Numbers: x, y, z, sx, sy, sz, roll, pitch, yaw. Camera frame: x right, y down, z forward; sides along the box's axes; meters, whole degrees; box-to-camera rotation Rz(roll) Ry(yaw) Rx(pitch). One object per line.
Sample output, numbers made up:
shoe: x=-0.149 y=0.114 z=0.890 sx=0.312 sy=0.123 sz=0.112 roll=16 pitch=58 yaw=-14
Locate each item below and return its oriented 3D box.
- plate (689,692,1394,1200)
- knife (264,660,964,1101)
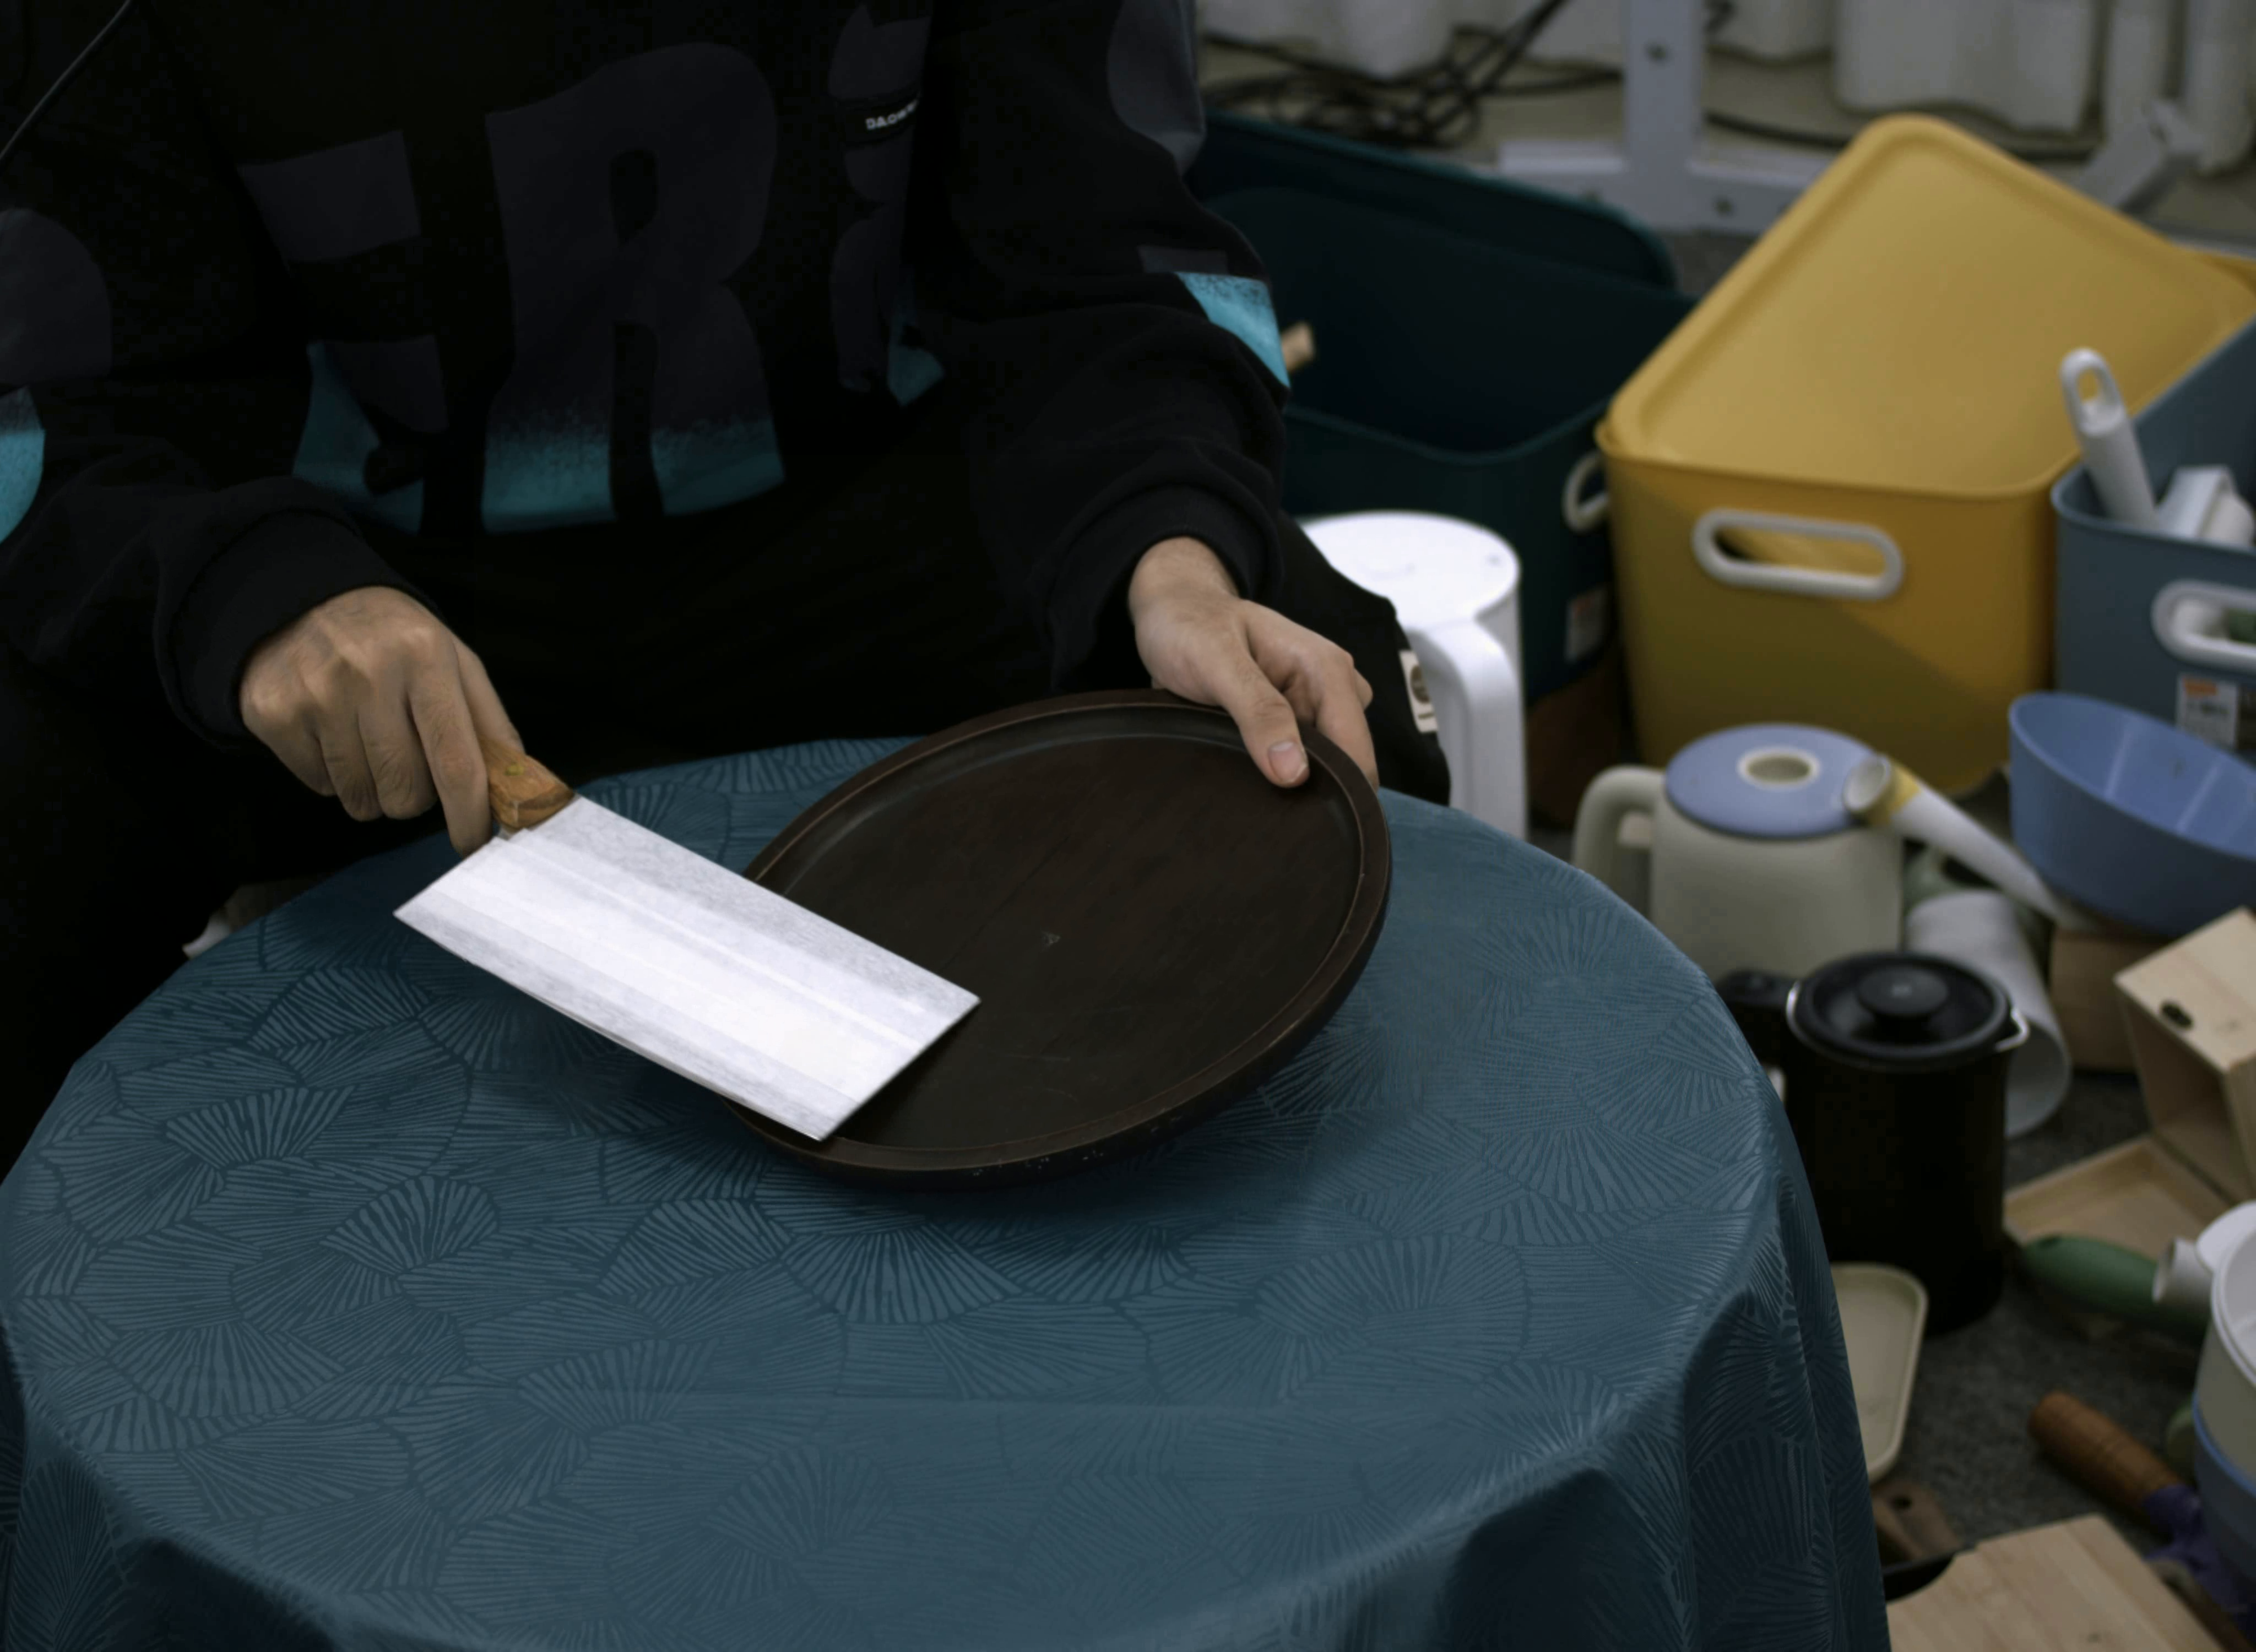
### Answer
plate: x=-0.030 y=0.040 z=1.934 sx=0.253 sy=0.028 sz=0.259 roll=-12 pitch=37 yaw=10
knife: x=-0.198 y=0.021 z=1.953 sx=0.305 sy=0.020 sz=0.094 roll=26 pitch=44 yaw=27
